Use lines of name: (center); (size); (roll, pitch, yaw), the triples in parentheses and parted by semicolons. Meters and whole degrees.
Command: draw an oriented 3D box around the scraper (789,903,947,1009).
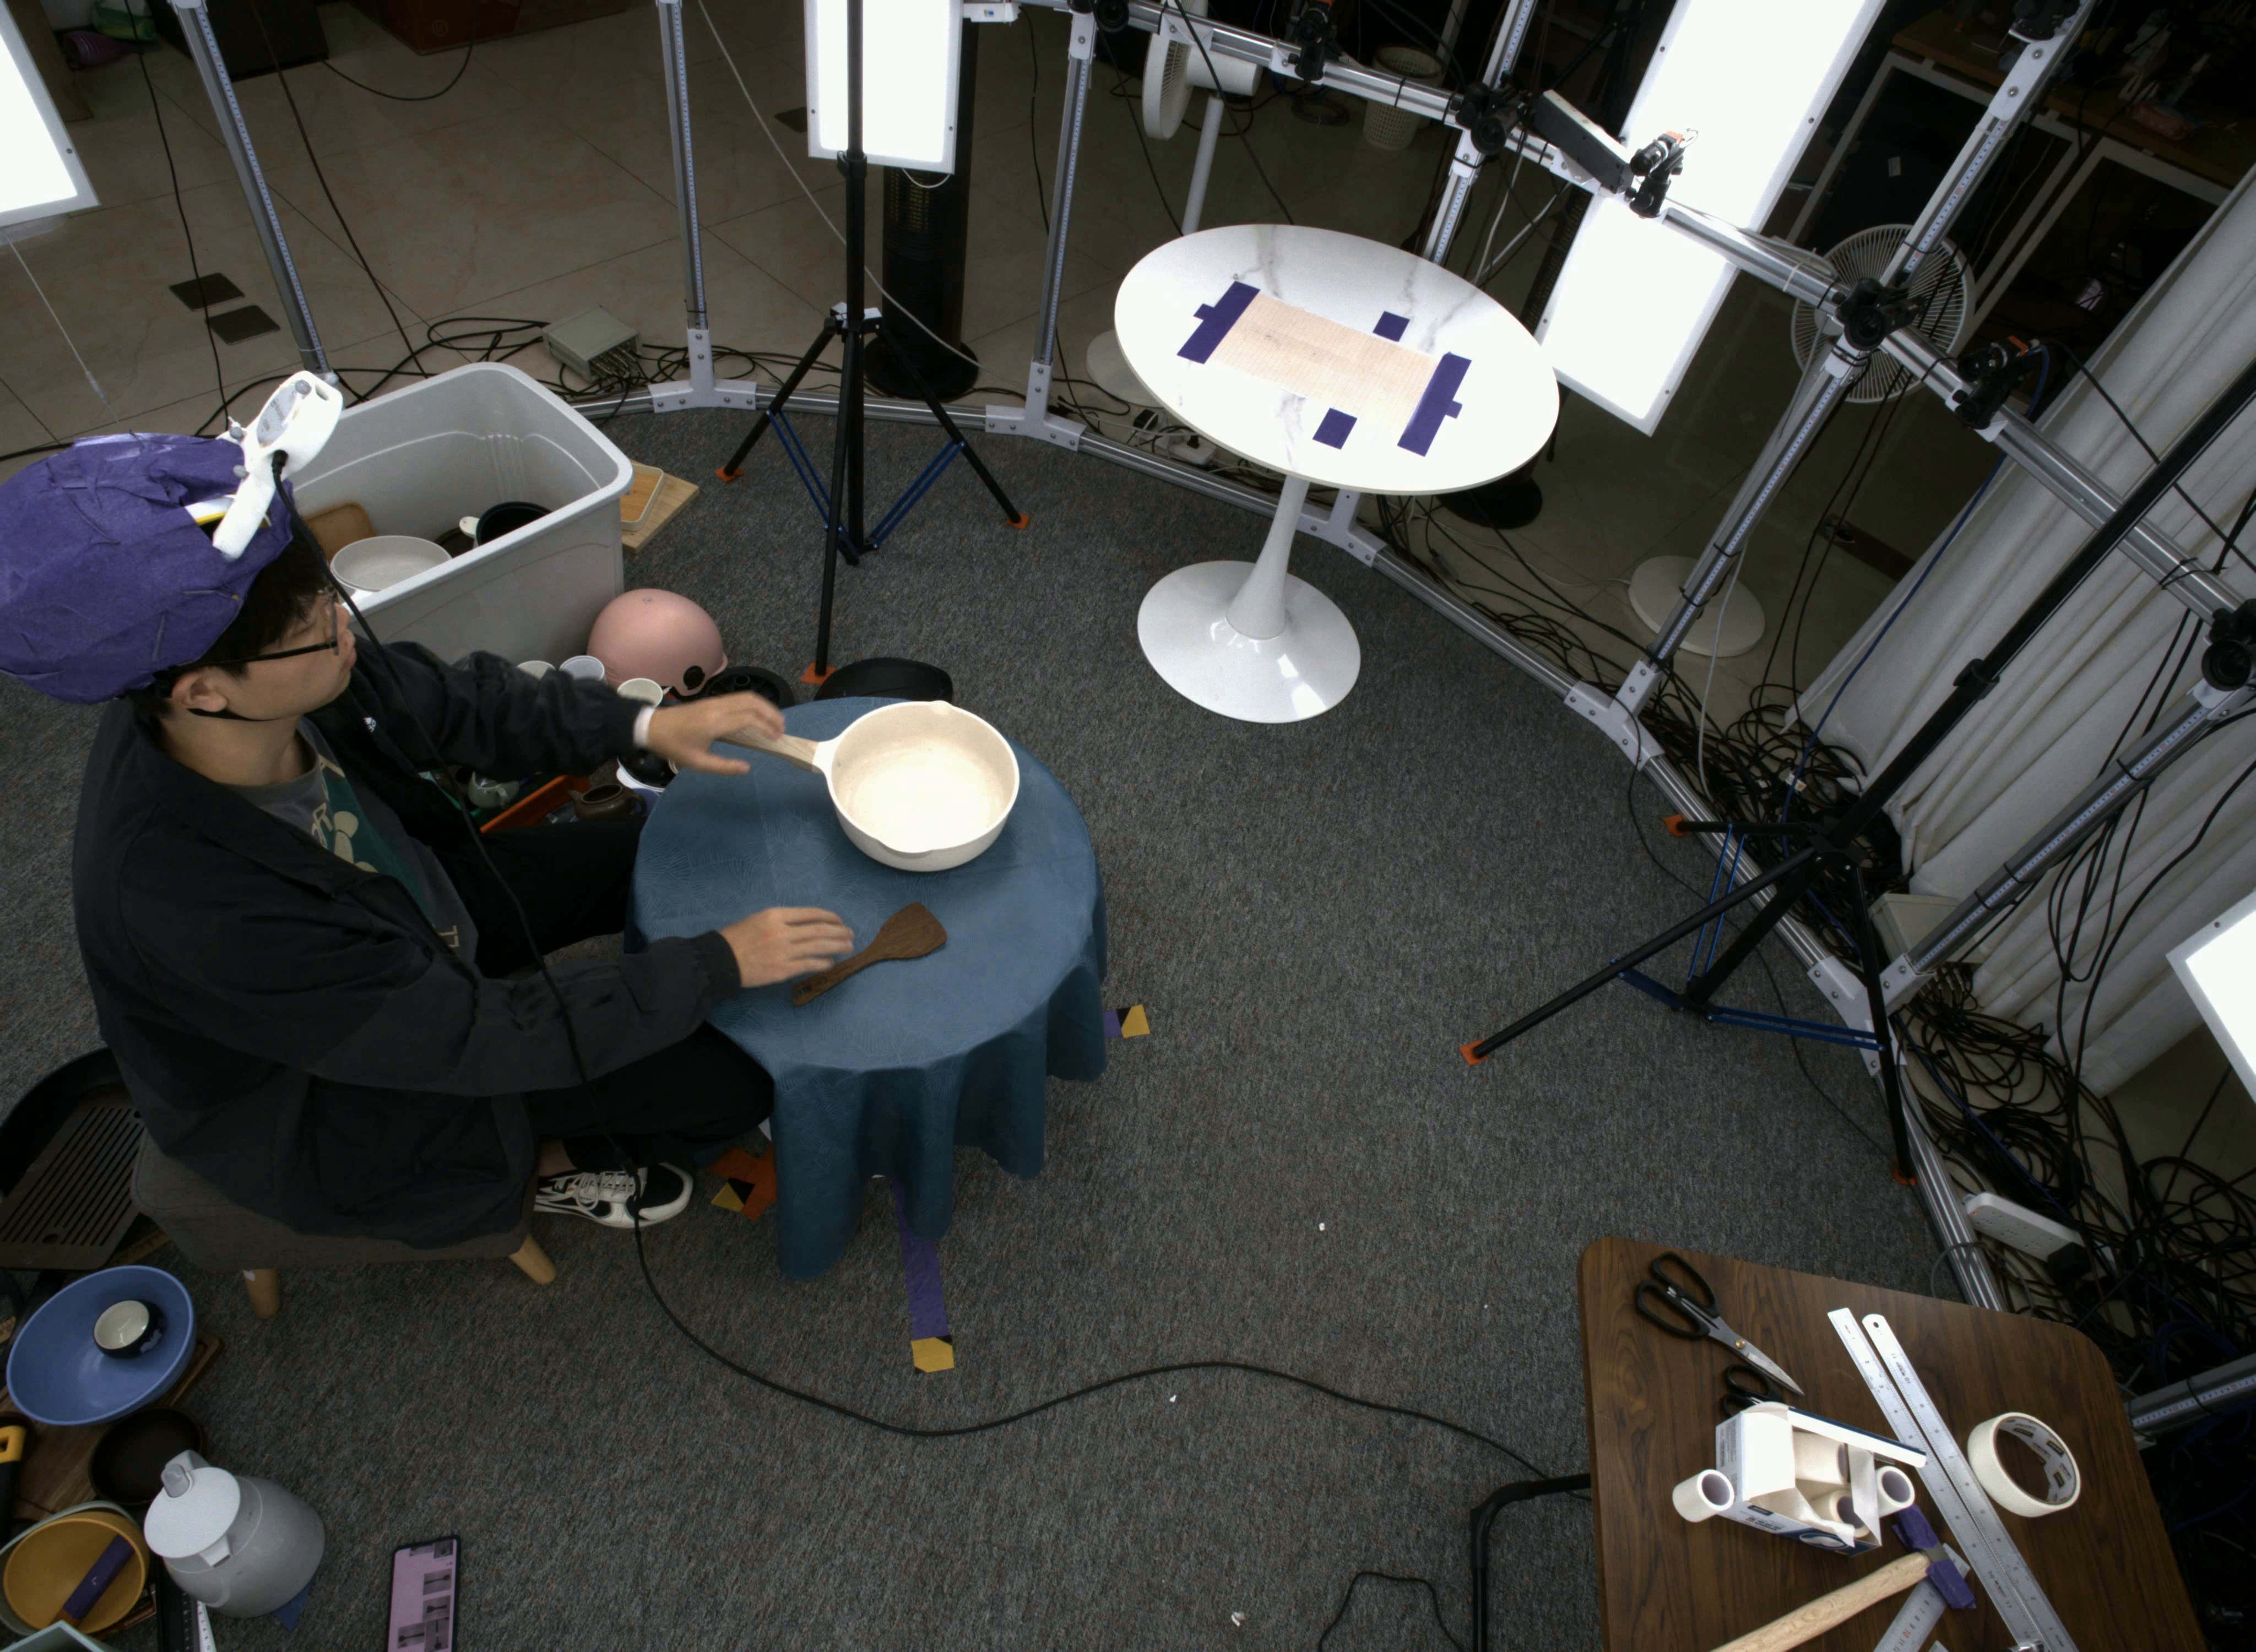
scraper: (-0.327, 0.165, 1.621); (0.212, 0.011, 0.074); (-30, 64, -29)

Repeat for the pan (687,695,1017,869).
pan: (-0.365, -0.071, 1.730); (0.433, 0.104, 0.259); (9, 54, -6)
